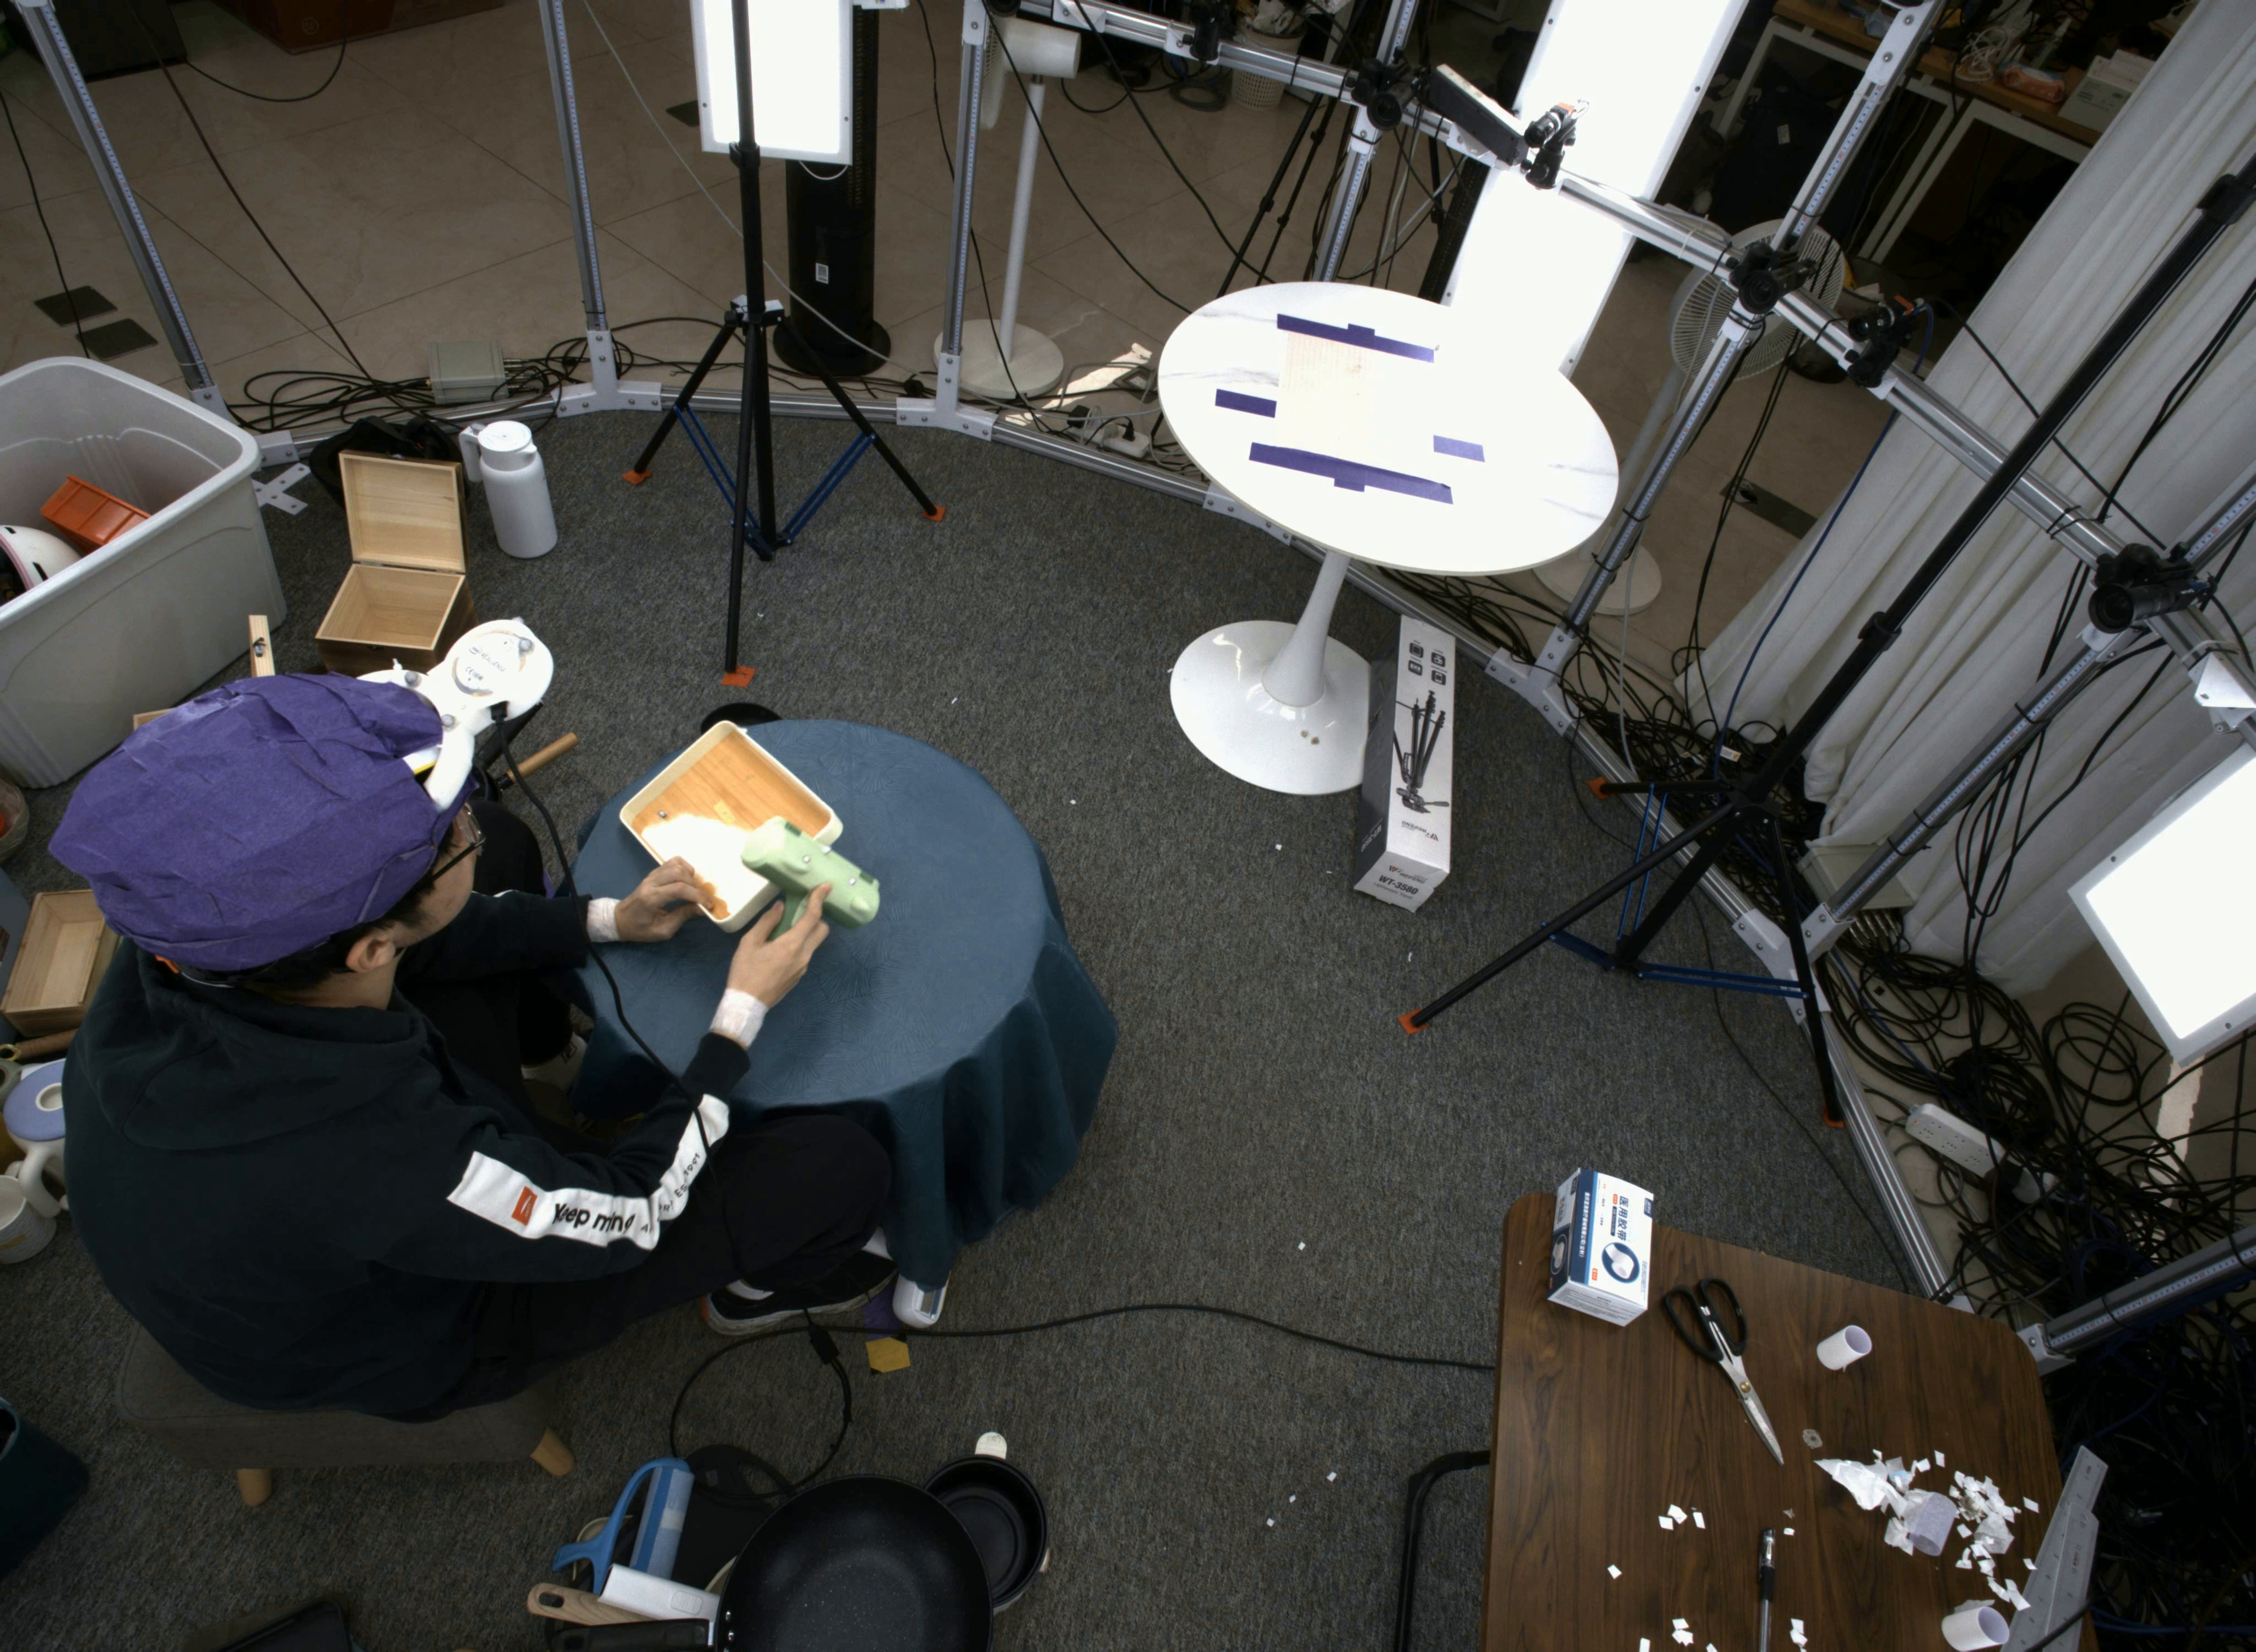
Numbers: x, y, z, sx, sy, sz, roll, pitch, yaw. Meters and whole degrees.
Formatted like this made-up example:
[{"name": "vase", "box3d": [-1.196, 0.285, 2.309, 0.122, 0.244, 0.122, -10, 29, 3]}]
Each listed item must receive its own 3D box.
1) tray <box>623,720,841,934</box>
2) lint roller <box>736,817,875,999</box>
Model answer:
[{"name": "tray", "box3d": [-0.499, -0.007, 1.604, 0.191, 0.028, 0.289, -45, 53, -13]}, {"name": "lint roller", "box3d": [-0.380, 0.112, 1.492, 0.079, 0.206, 0.183, 3, 66, 31]}]
